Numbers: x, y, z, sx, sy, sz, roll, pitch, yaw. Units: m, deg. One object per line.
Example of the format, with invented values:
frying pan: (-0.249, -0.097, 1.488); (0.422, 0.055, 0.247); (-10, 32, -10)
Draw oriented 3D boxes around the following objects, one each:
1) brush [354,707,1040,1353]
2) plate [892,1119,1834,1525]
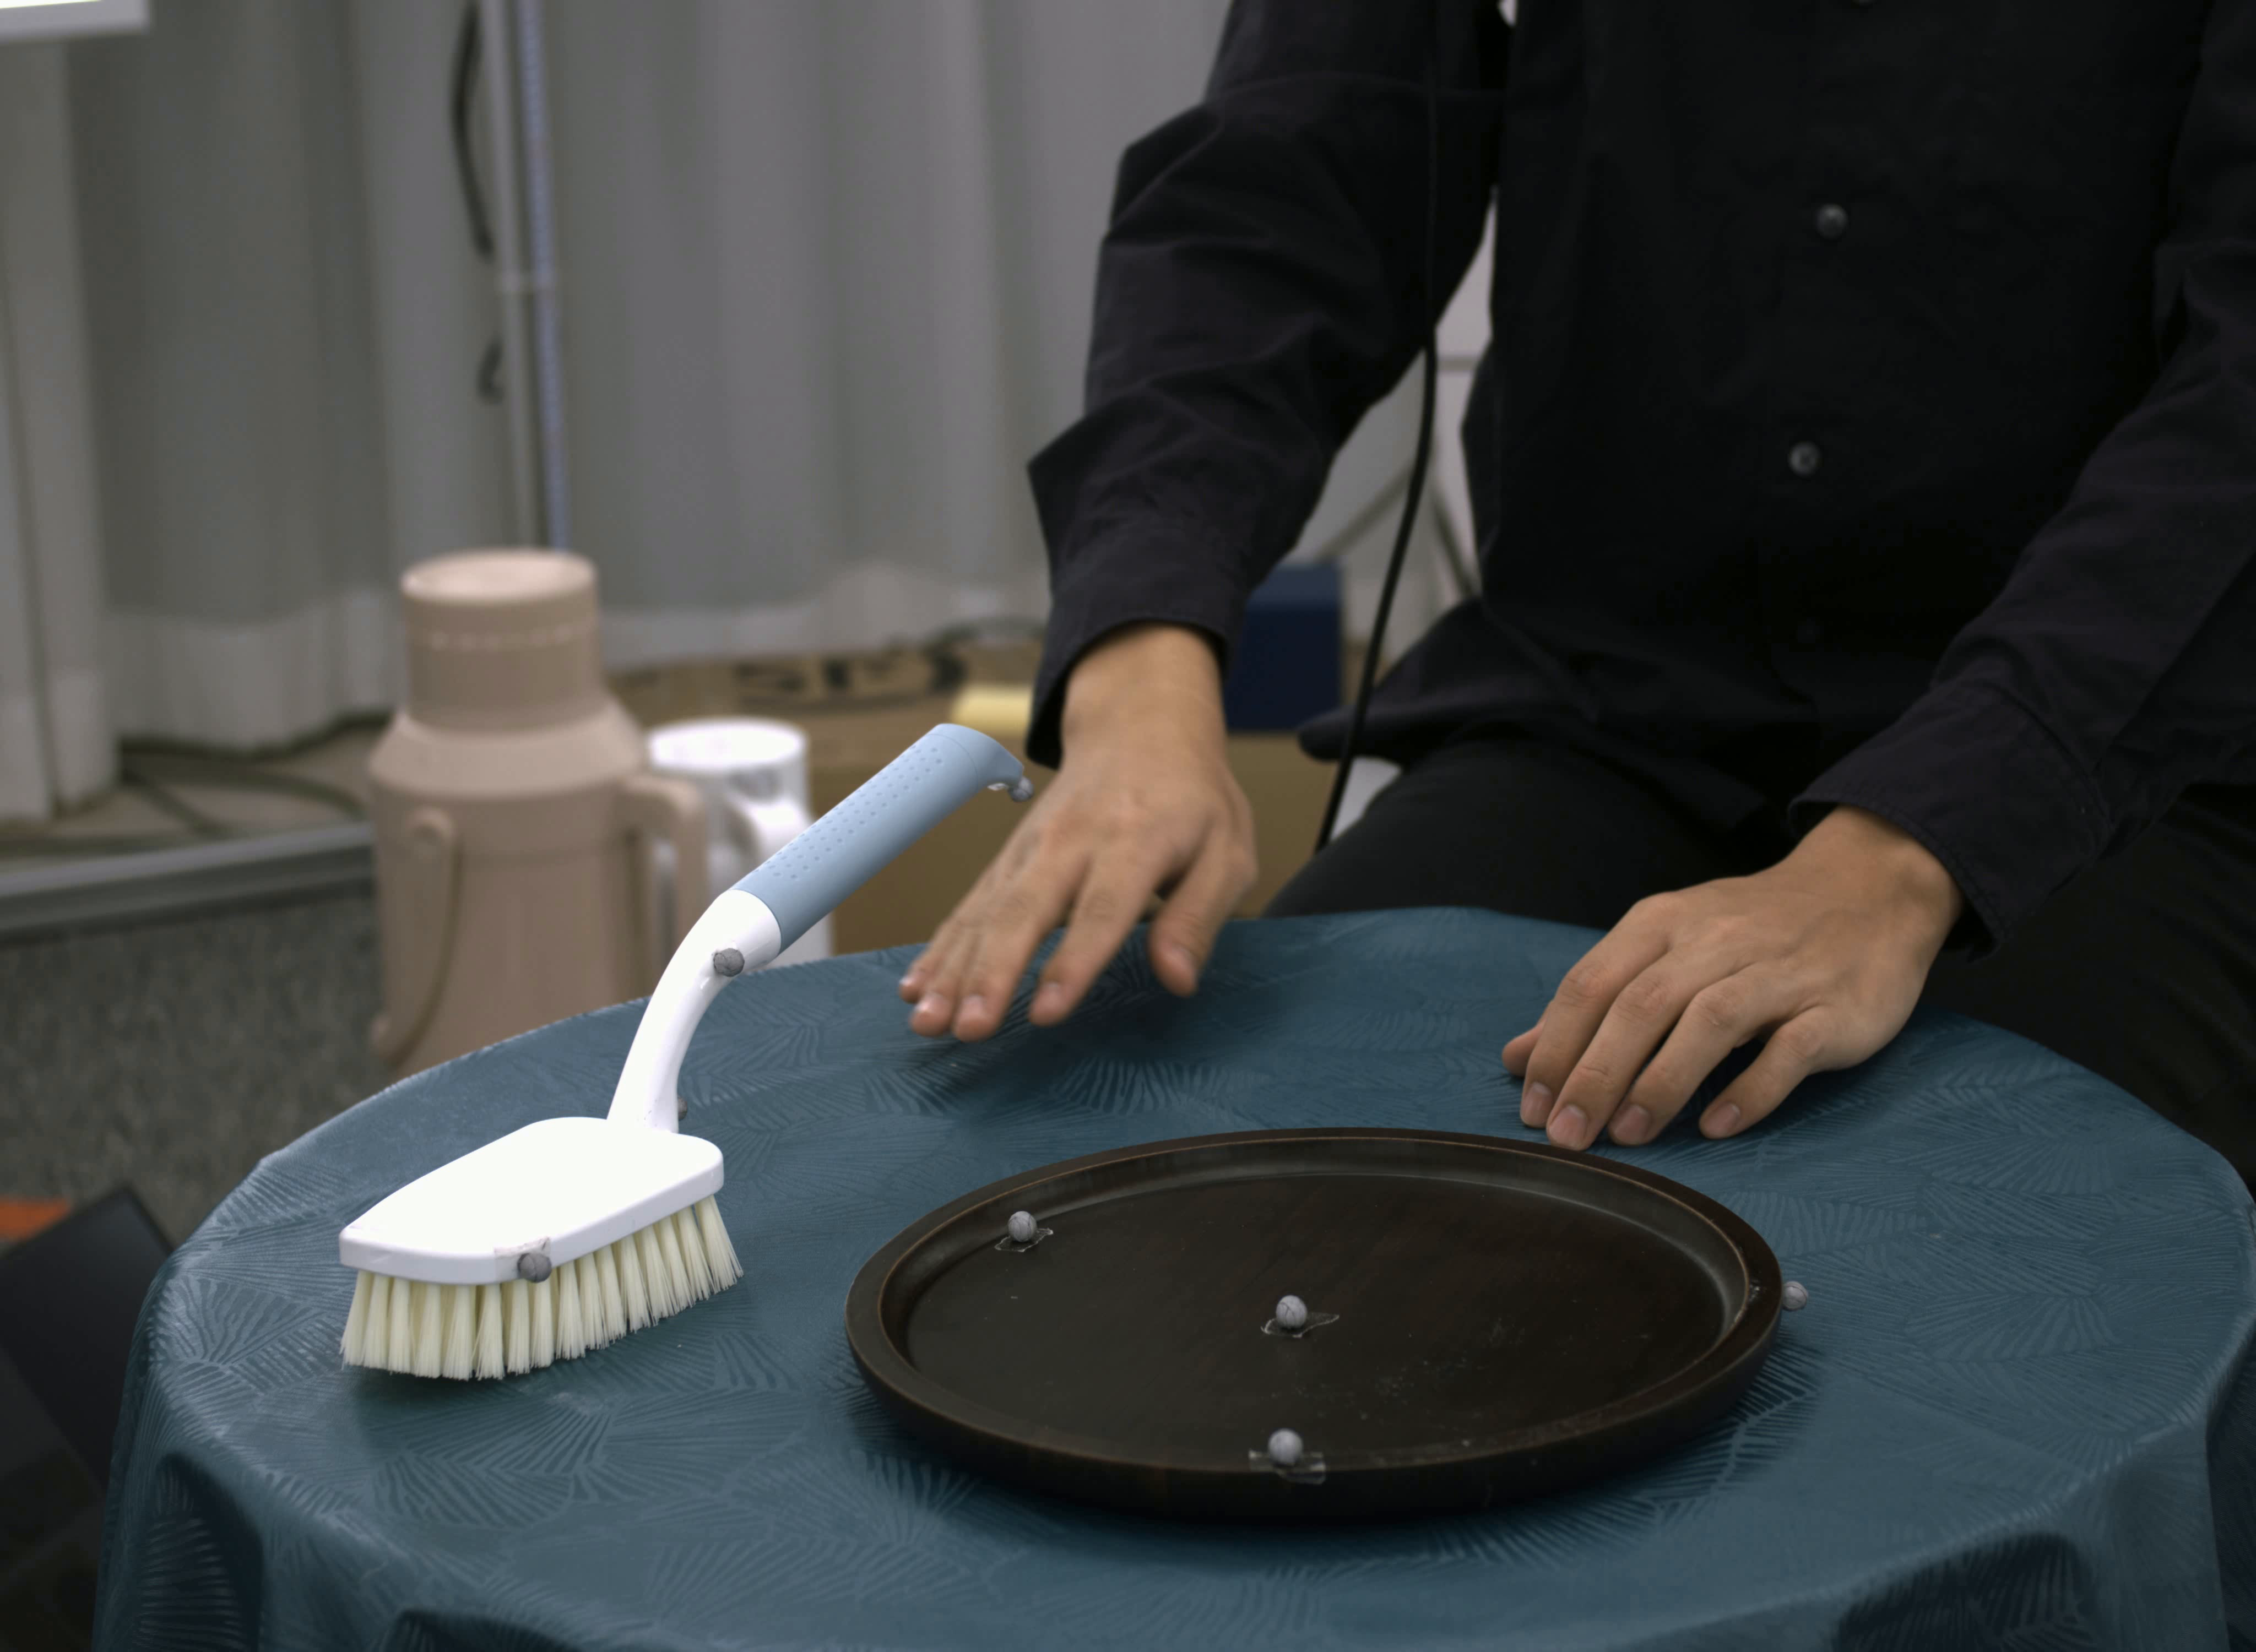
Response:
brush: (-0.111, 0.073, 1.557); (0.084, 0.085, 0.321); (40, 43, 10)
plate: (0.064, 0.131, 1.427); (0.253, 0.029, 0.256); (-5, 16, 0)
